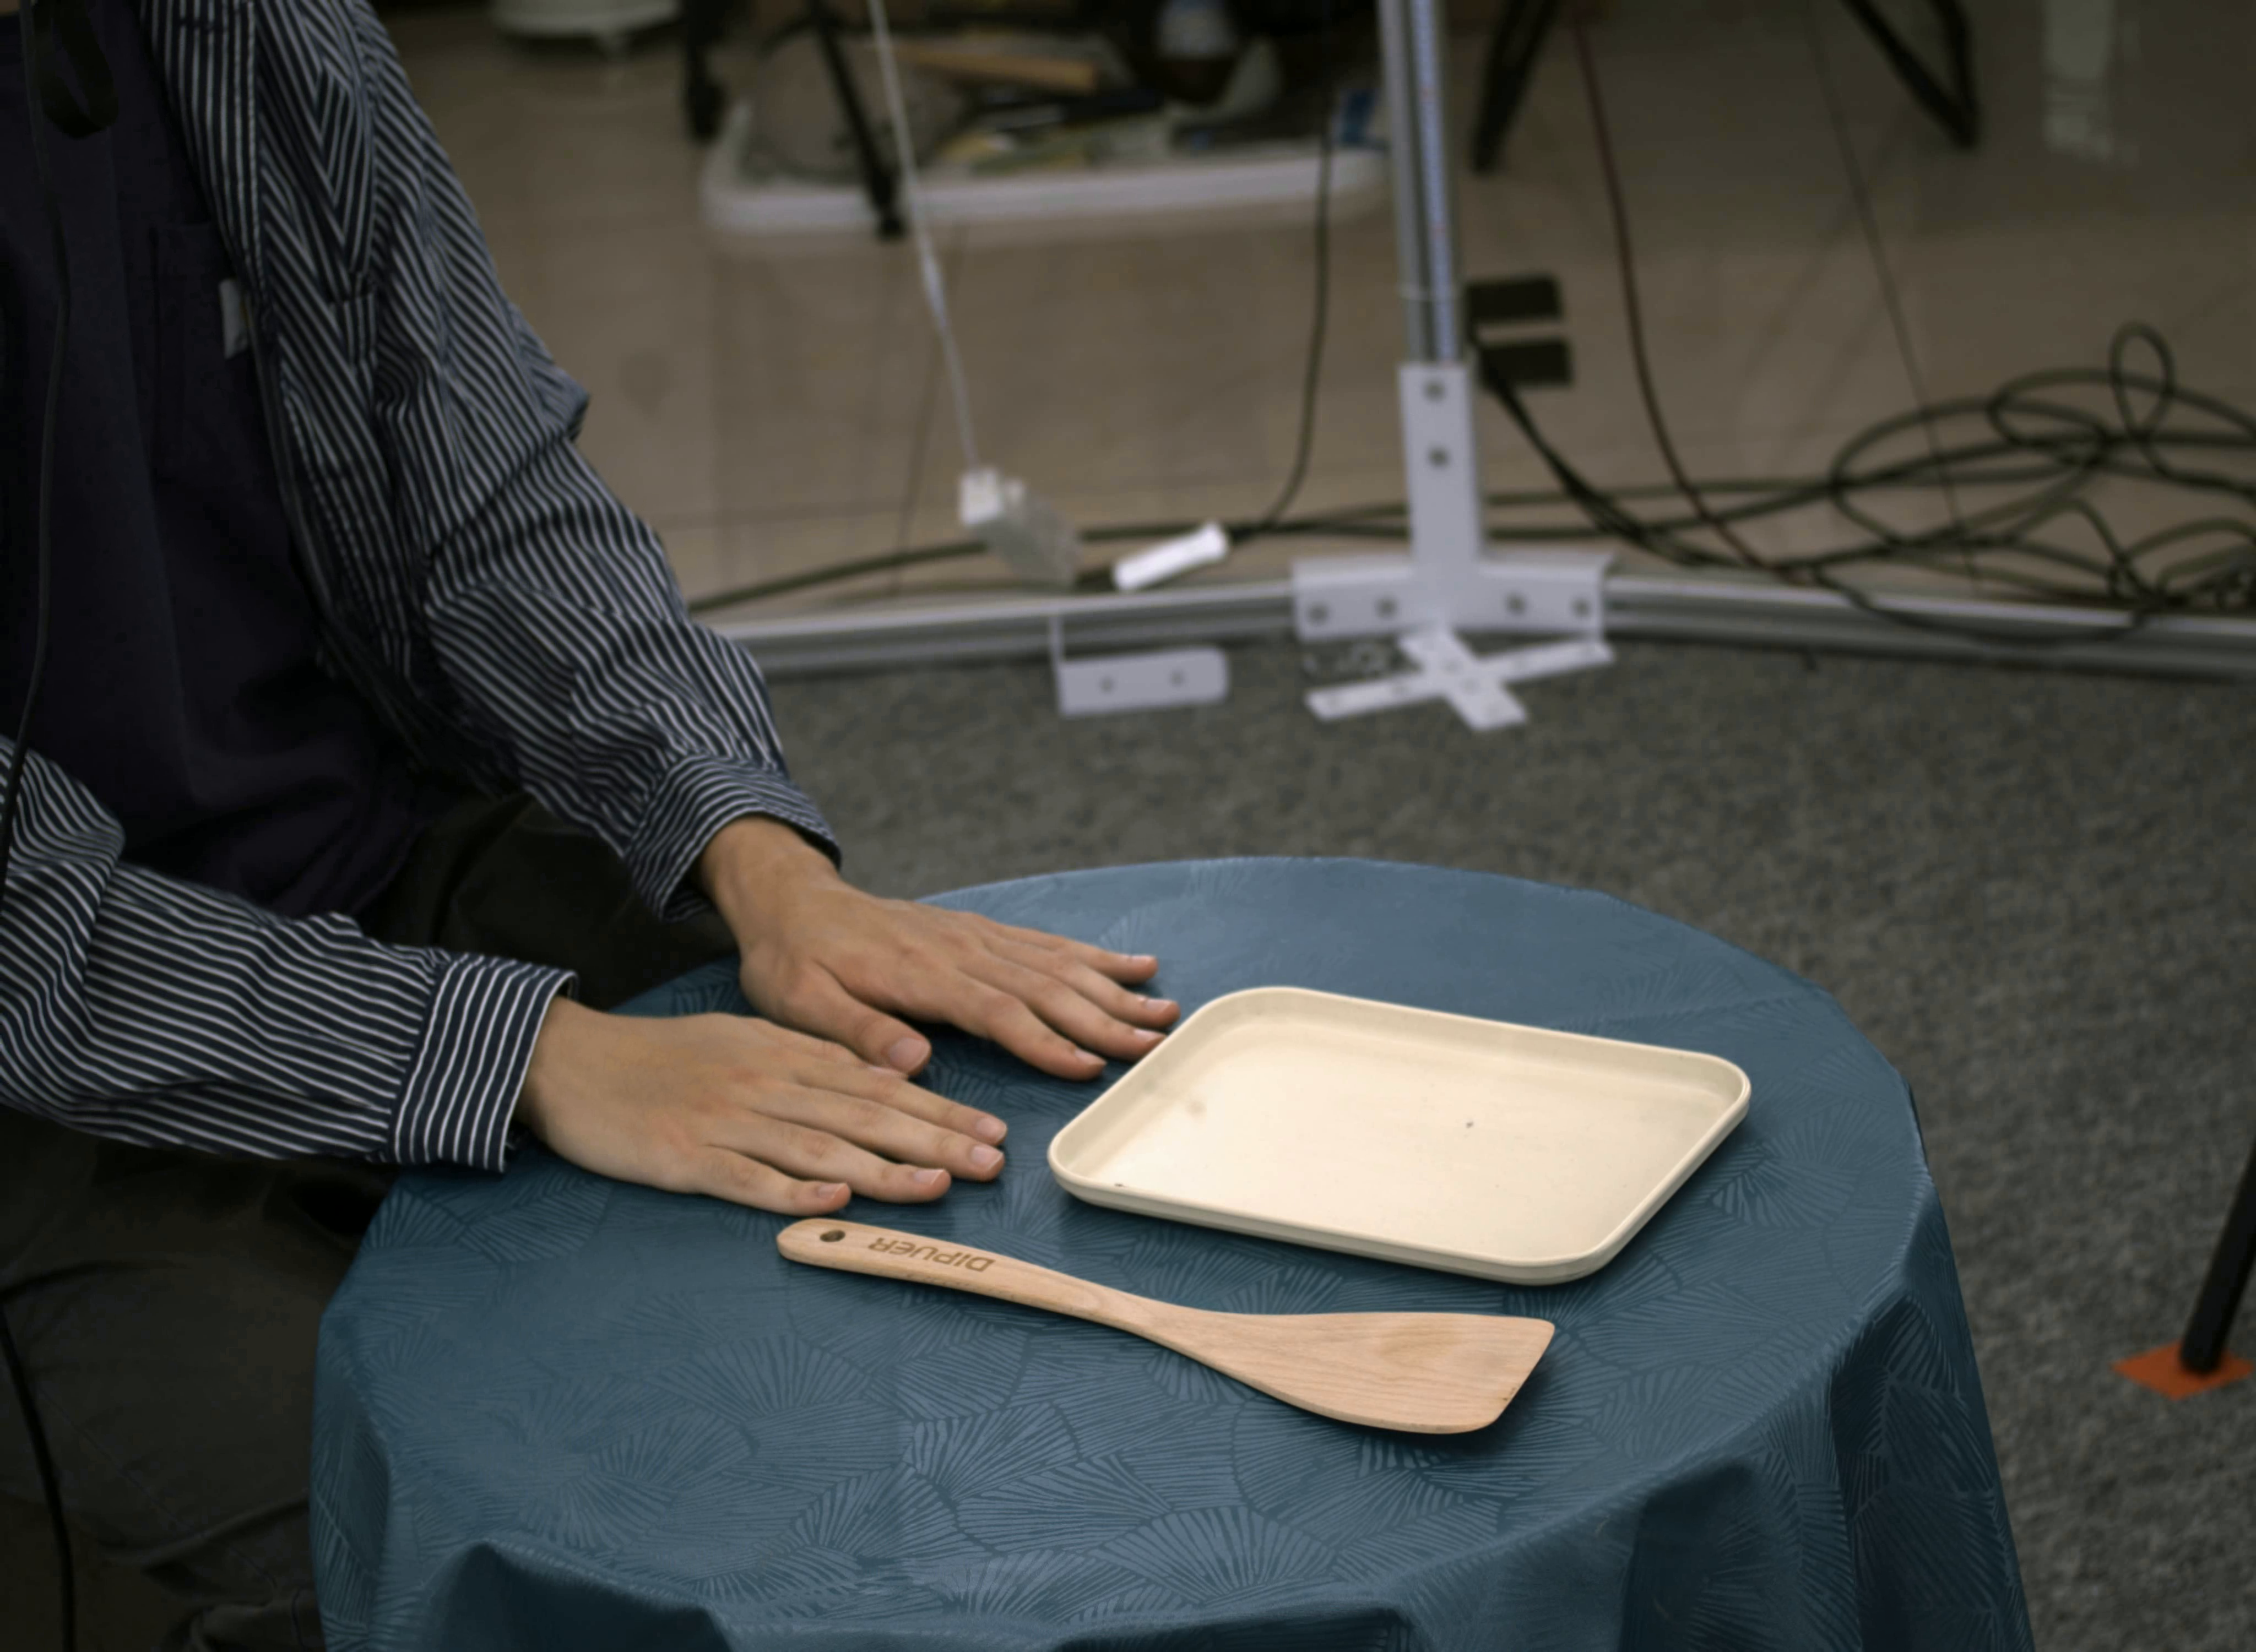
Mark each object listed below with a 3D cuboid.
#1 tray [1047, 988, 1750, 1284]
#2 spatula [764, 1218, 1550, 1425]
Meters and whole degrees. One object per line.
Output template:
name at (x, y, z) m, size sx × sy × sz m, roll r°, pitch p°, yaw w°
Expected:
tray at (0.103, 0.117, 2.151) m, size 0.238 × 0.018 × 0.169 m, roll 9°, pitch 29°, yaw 30°
spatula at (0.004, 0.172, 2.060) m, size 0.326 × 0.017 × 0.079 m, roll 9°, pitch 29°, yaw 30°
